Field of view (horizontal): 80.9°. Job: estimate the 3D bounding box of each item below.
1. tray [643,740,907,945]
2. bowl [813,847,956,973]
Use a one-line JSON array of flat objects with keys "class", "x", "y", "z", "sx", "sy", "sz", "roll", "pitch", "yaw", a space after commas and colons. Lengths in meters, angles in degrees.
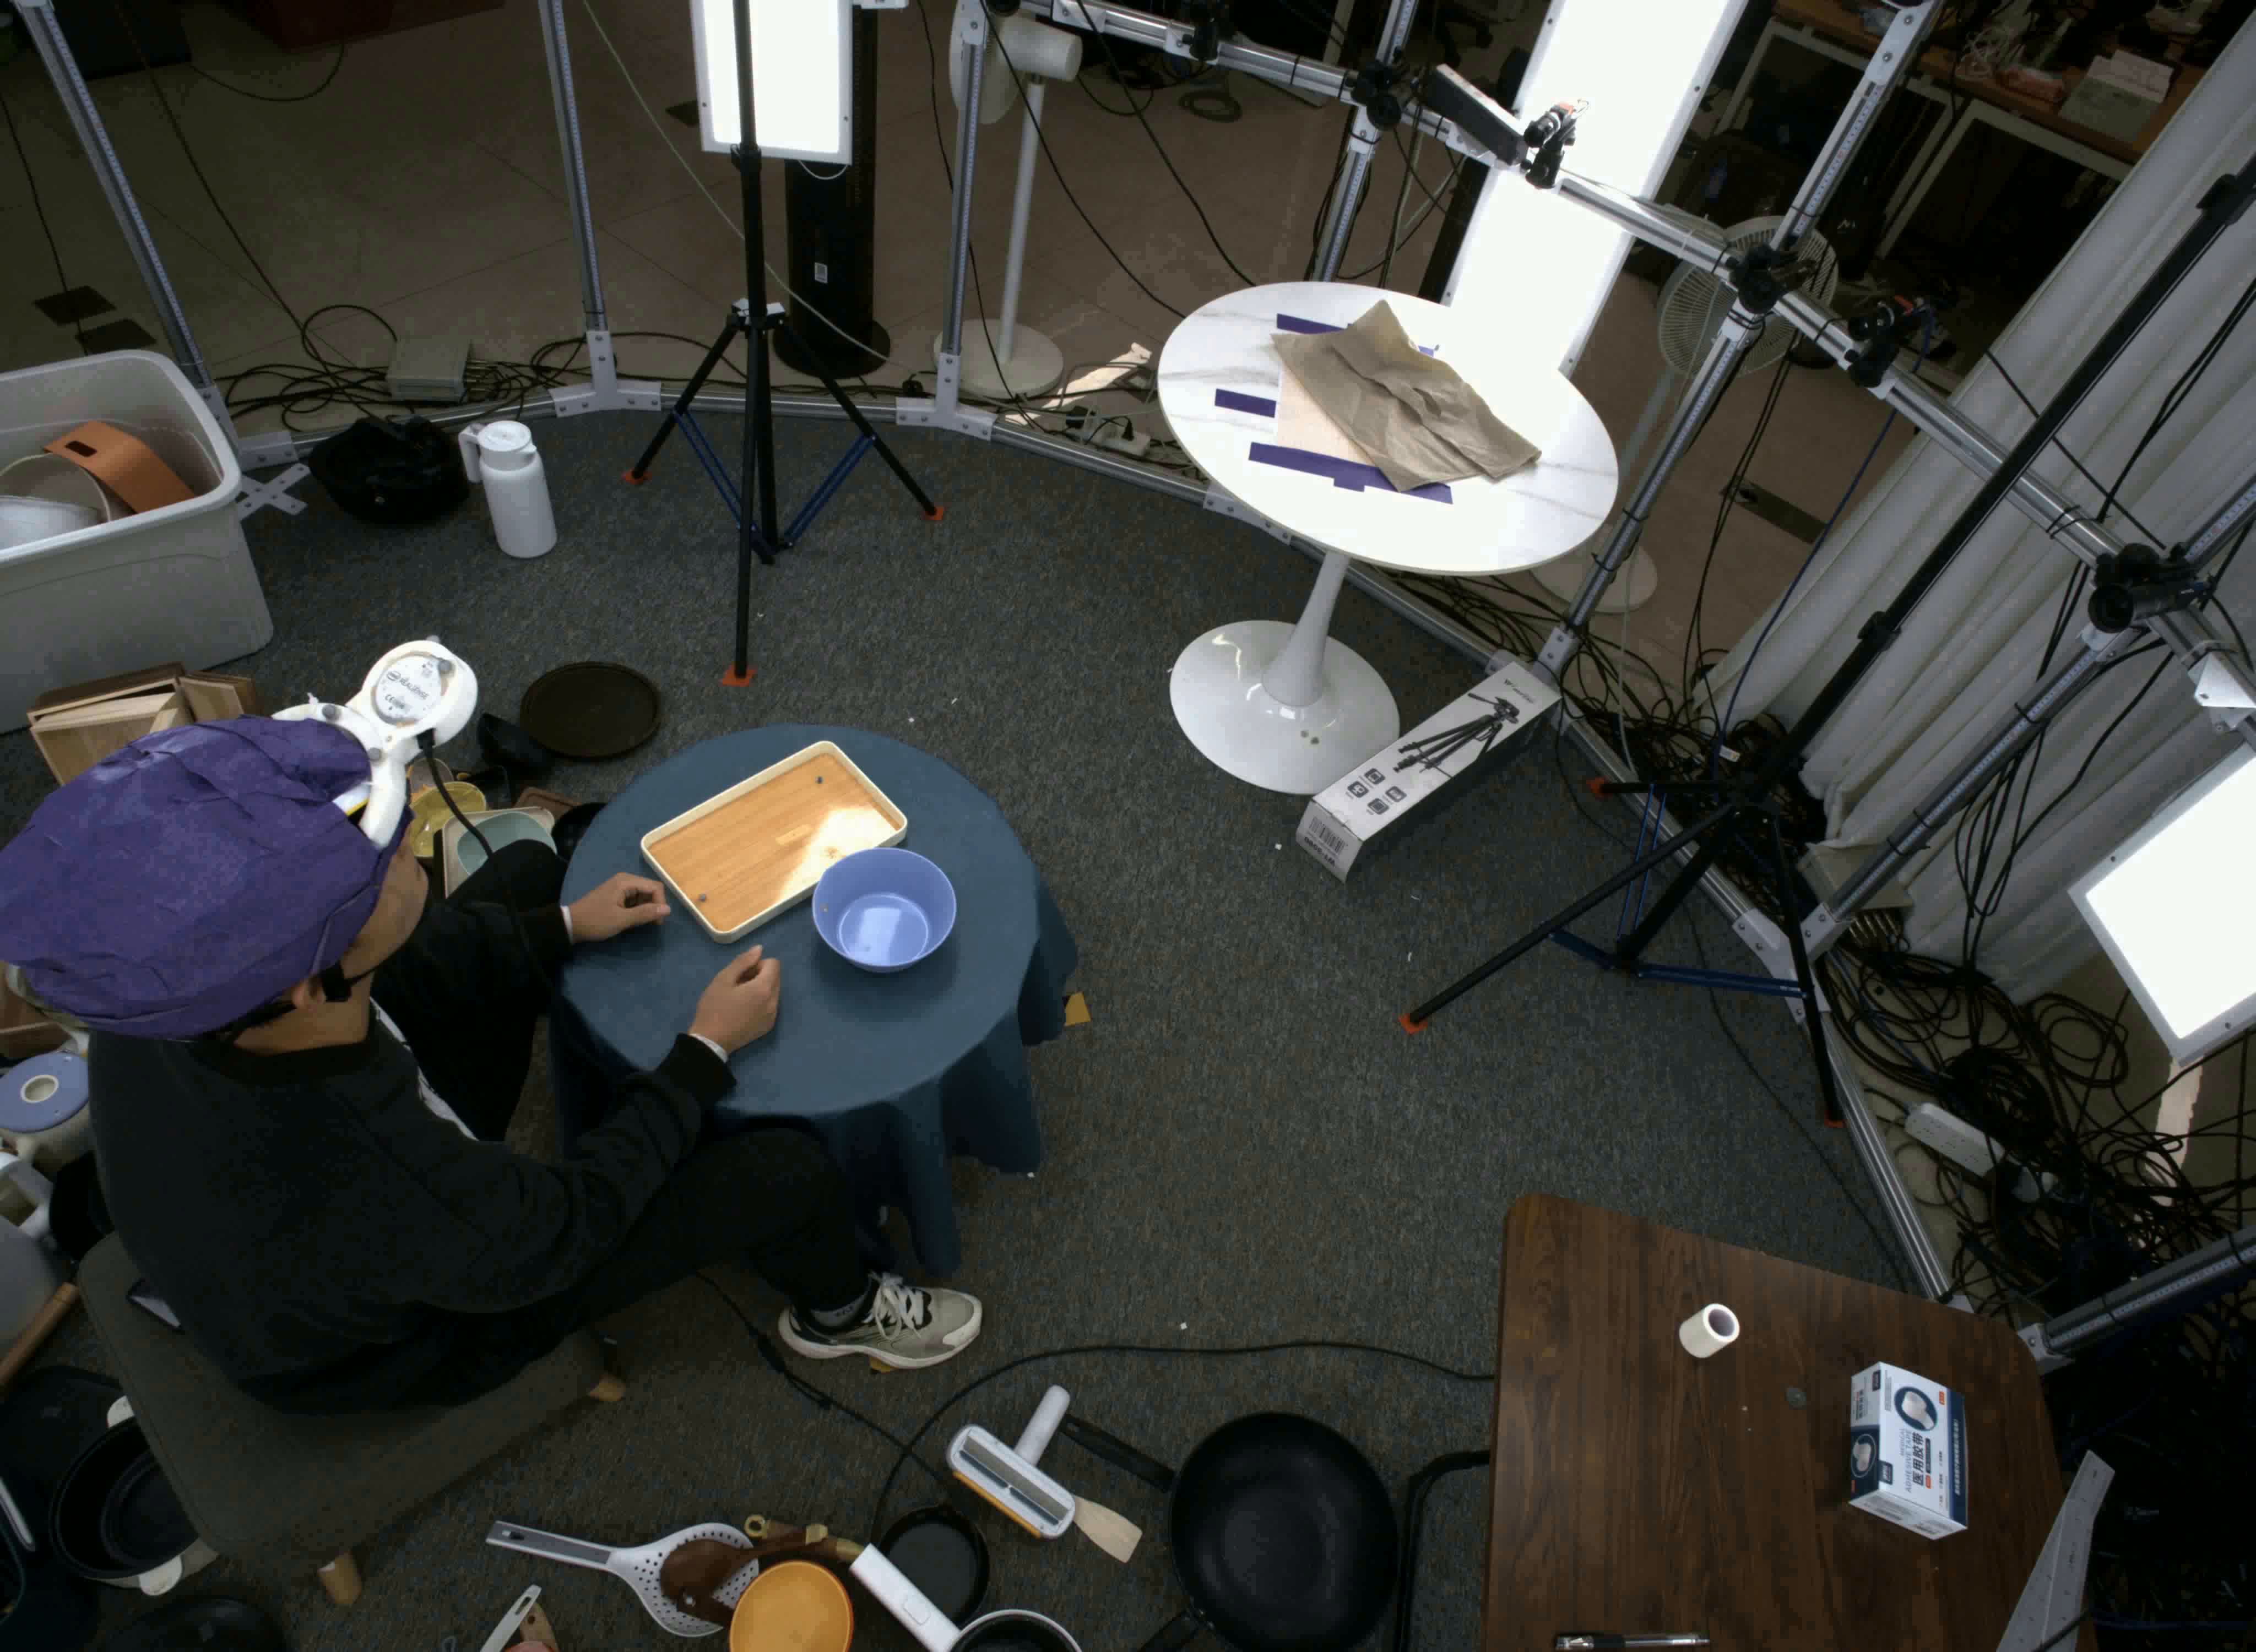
[{"class": "tray", "x": -0.459, "y": 0.014, "z": 1.693, "sx": 0.301, "sy": 0.028, "sz": 0.187, "roll": -34, "pitch": 68, "yaw": -33}, {"class": "bowl", "x": -0.304, "y": 0.115, "z": 1.629, "sx": 0.175, "sy": 0.072, "sz": 0.173, "roll": 7, "pitch": 52, "yaw": -7}]
